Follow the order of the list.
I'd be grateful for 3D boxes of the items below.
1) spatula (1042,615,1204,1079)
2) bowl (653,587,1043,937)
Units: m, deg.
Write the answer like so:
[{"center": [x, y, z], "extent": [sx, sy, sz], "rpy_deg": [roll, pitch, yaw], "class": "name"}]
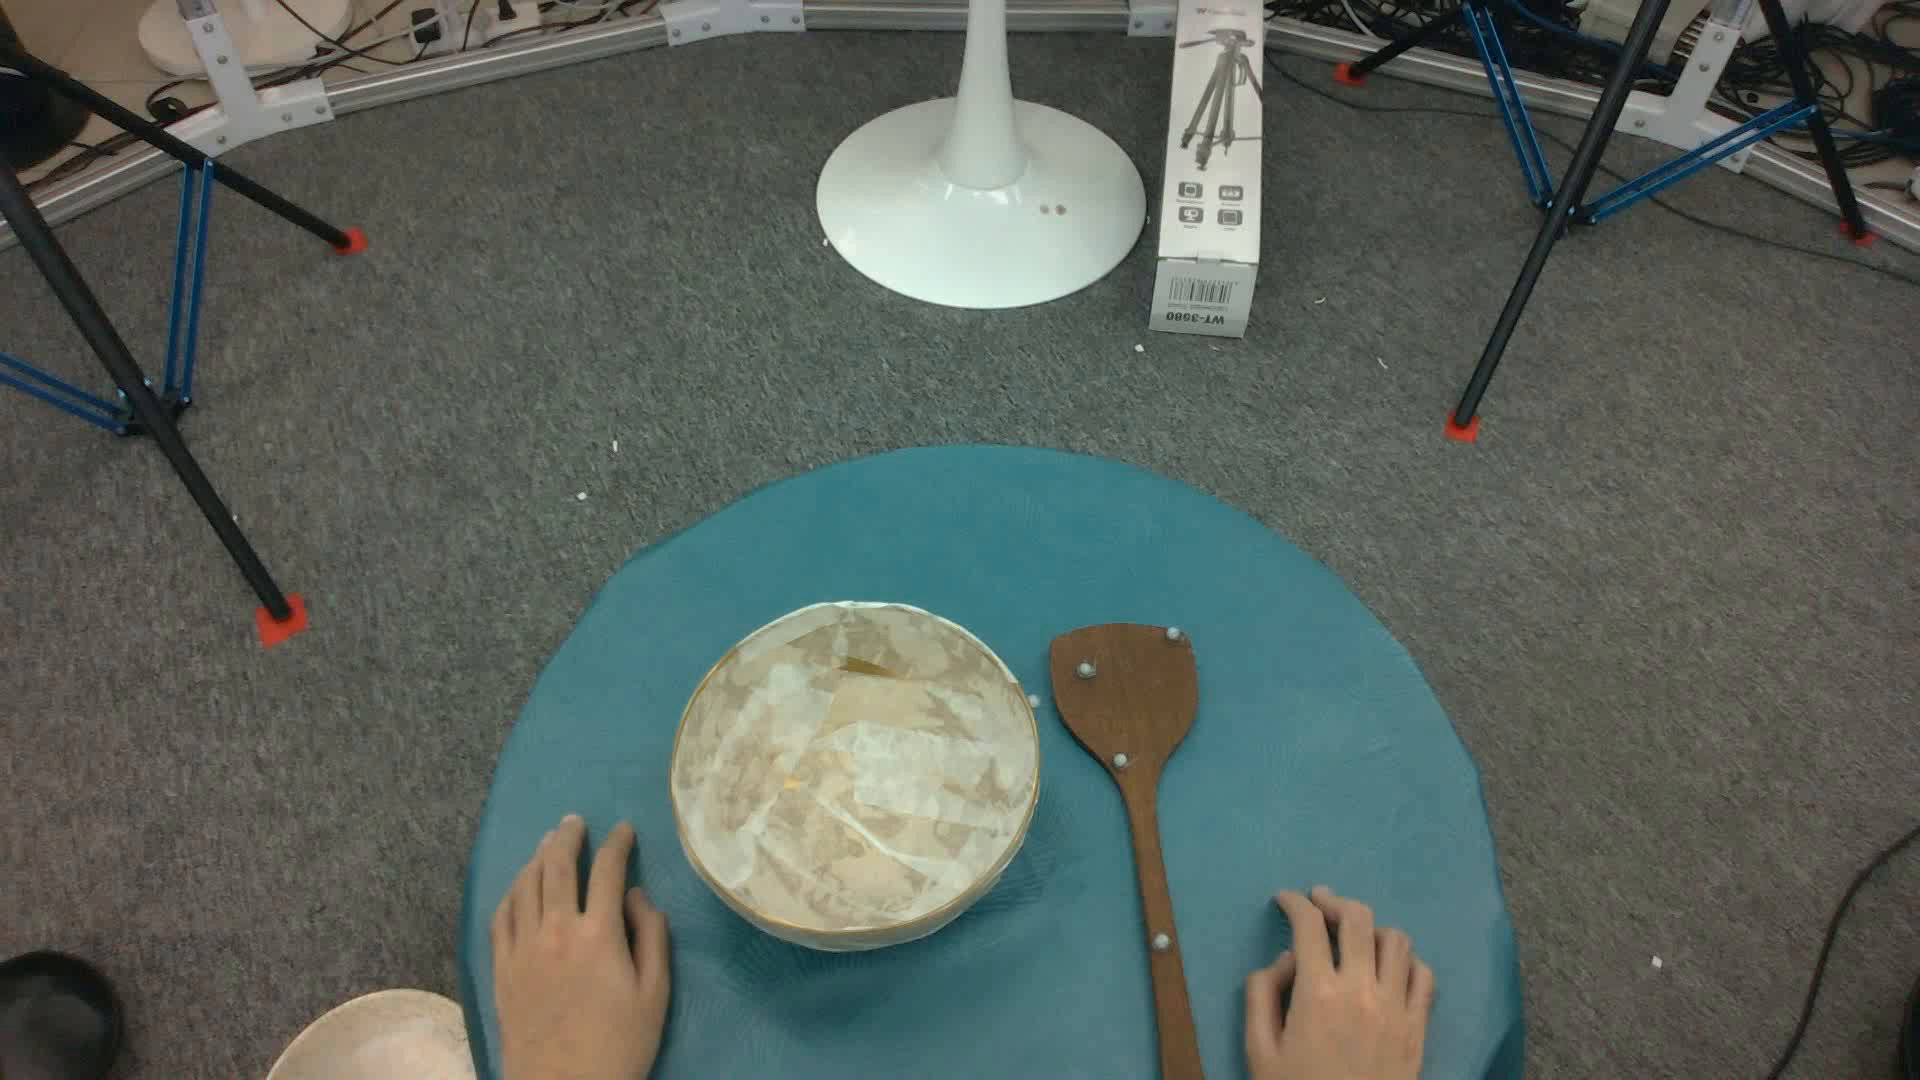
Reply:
[{"center": [0.110, 0.203, 0.777], "extent": [0.096, 0.016, 0.387], "rpy_deg": [-2, 52, -3], "class": "spatula"}, {"center": [-0.063, 0.136, 0.772], "extent": [0.215, 0.094, 0.215], "rpy_deg": [2, 53, -2], "class": "bowl"}]
